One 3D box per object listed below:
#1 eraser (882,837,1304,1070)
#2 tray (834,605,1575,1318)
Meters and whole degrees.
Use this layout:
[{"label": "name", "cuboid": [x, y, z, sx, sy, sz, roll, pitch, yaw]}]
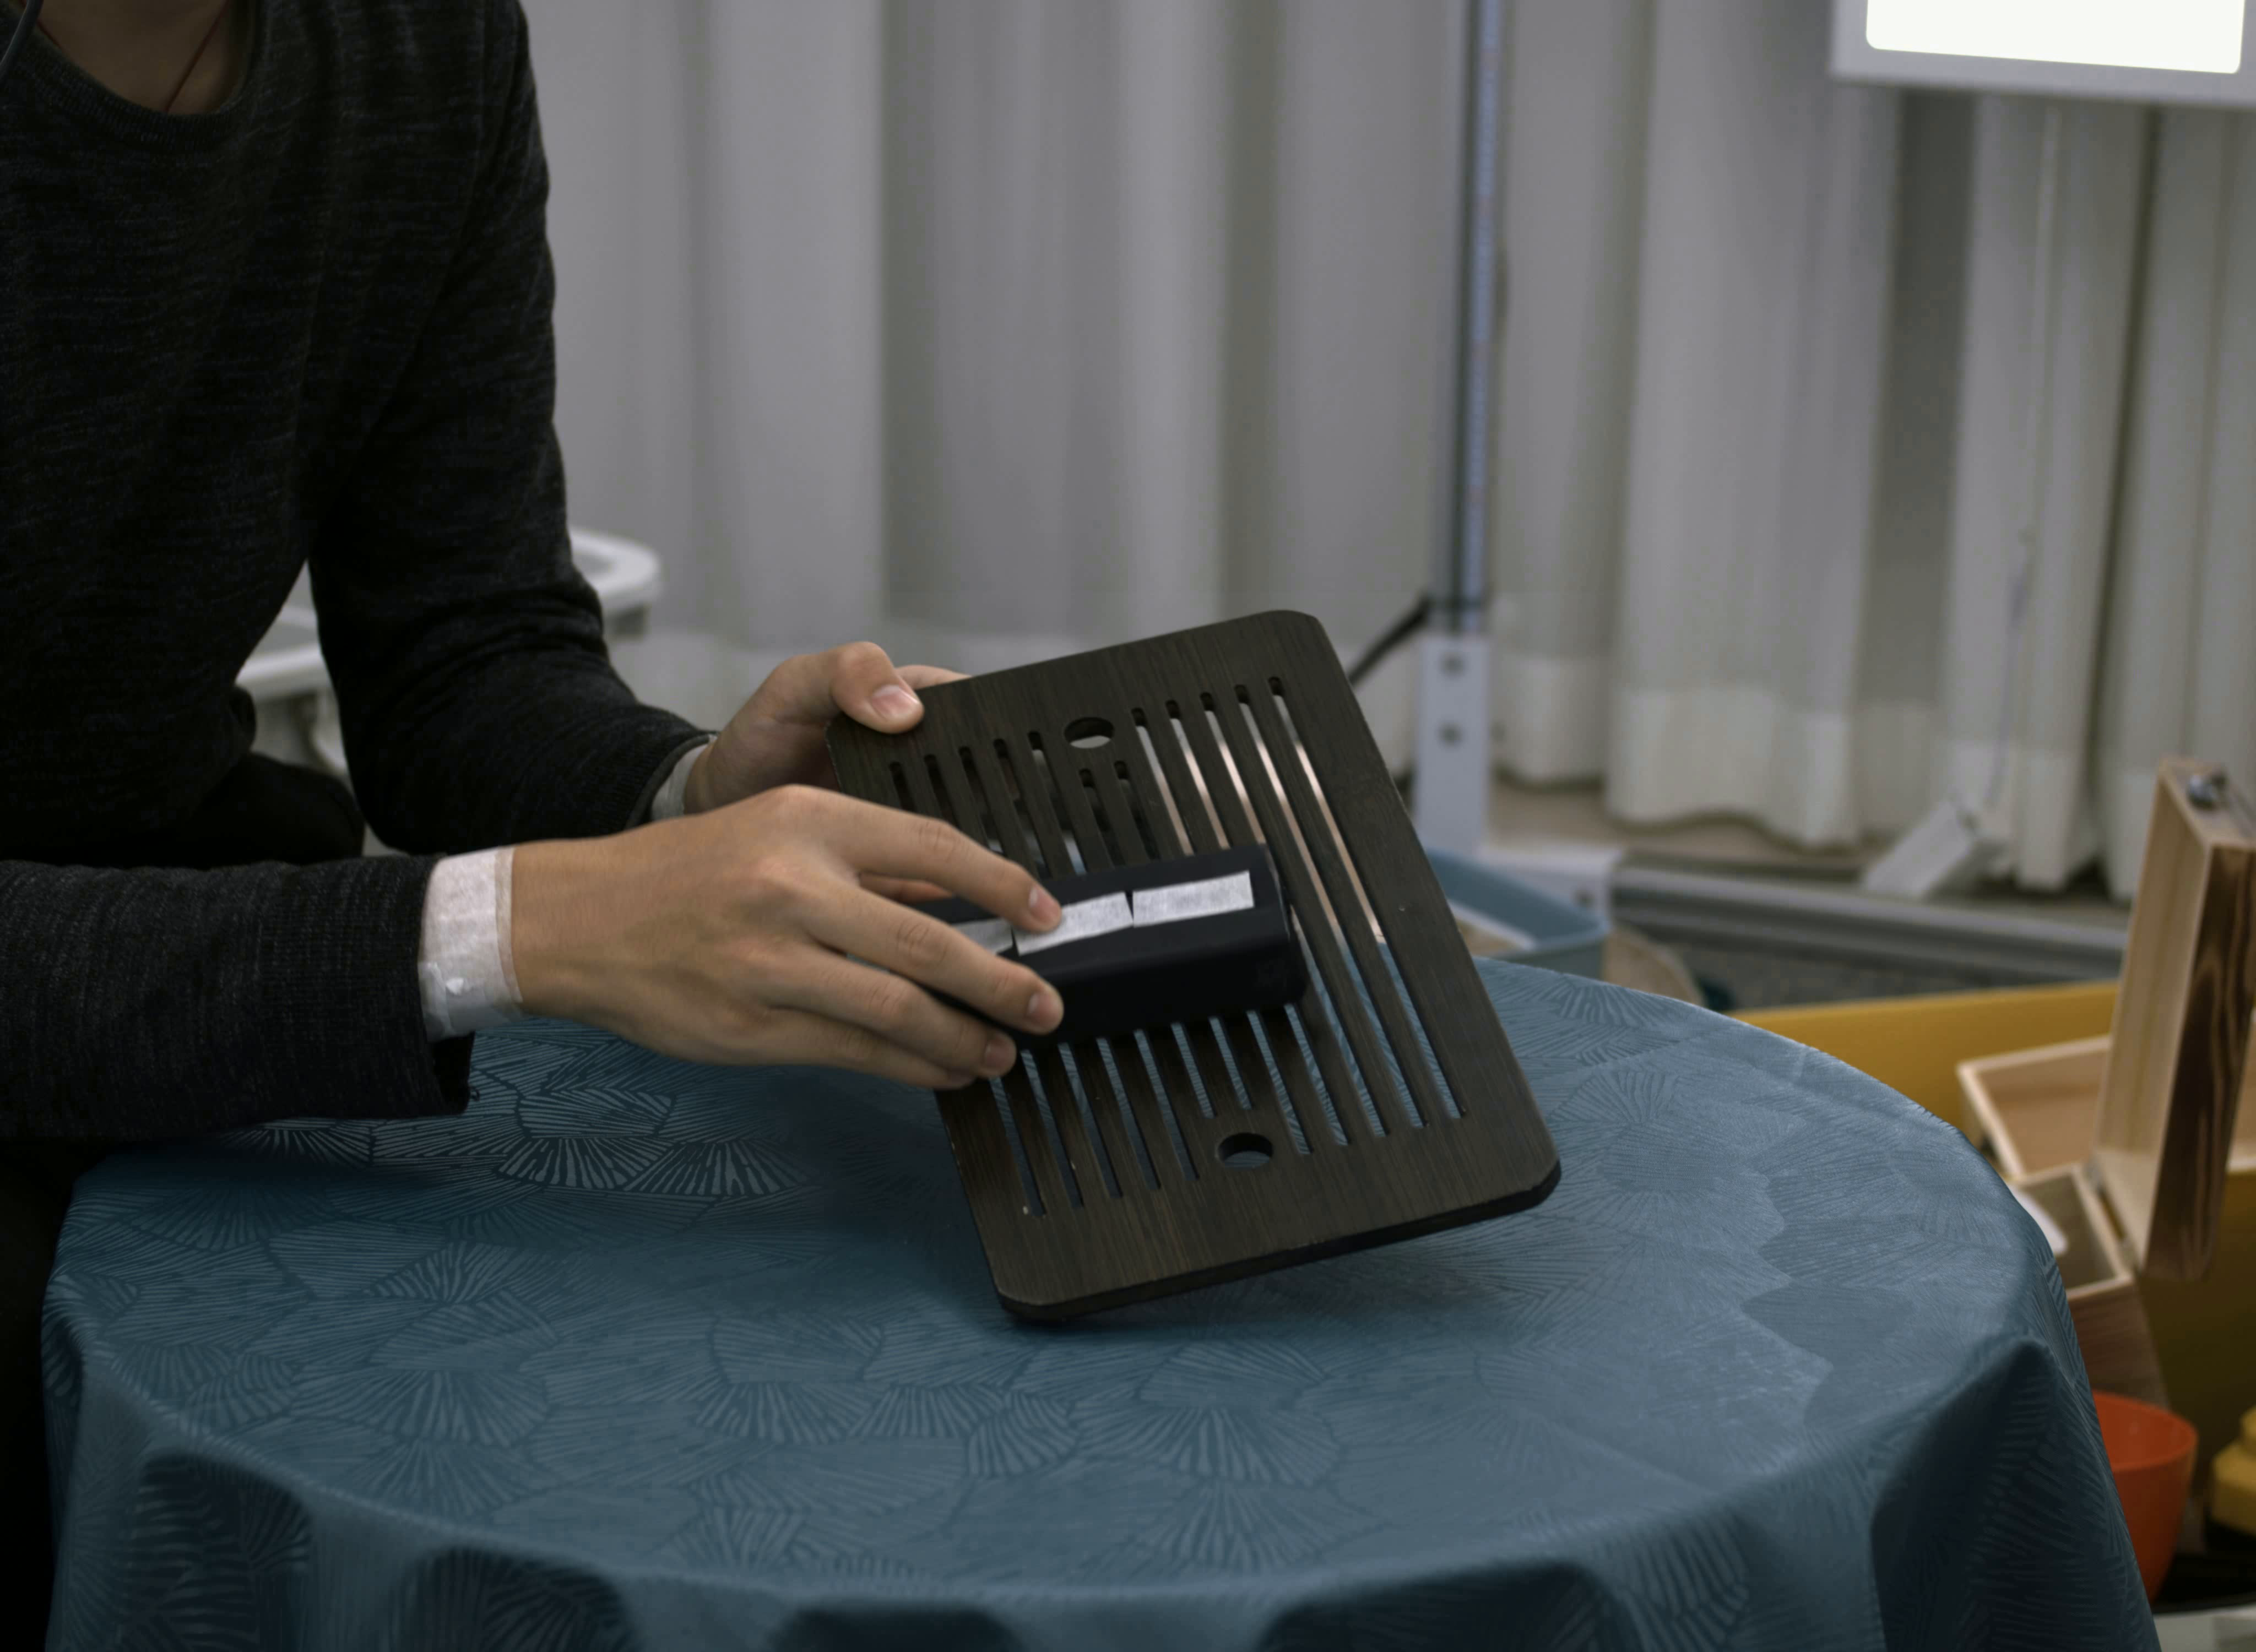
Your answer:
[{"label": "eraser", "cuboid": [-0.010, 0.038, 1.596, 0.125, 0.031, 0.053, -12, 36, -2]}, {"label": "tray", "cuboid": [0.017, 0.037, 1.627, 0.170, 0.019, 0.302, -12, 39, -7]}]
